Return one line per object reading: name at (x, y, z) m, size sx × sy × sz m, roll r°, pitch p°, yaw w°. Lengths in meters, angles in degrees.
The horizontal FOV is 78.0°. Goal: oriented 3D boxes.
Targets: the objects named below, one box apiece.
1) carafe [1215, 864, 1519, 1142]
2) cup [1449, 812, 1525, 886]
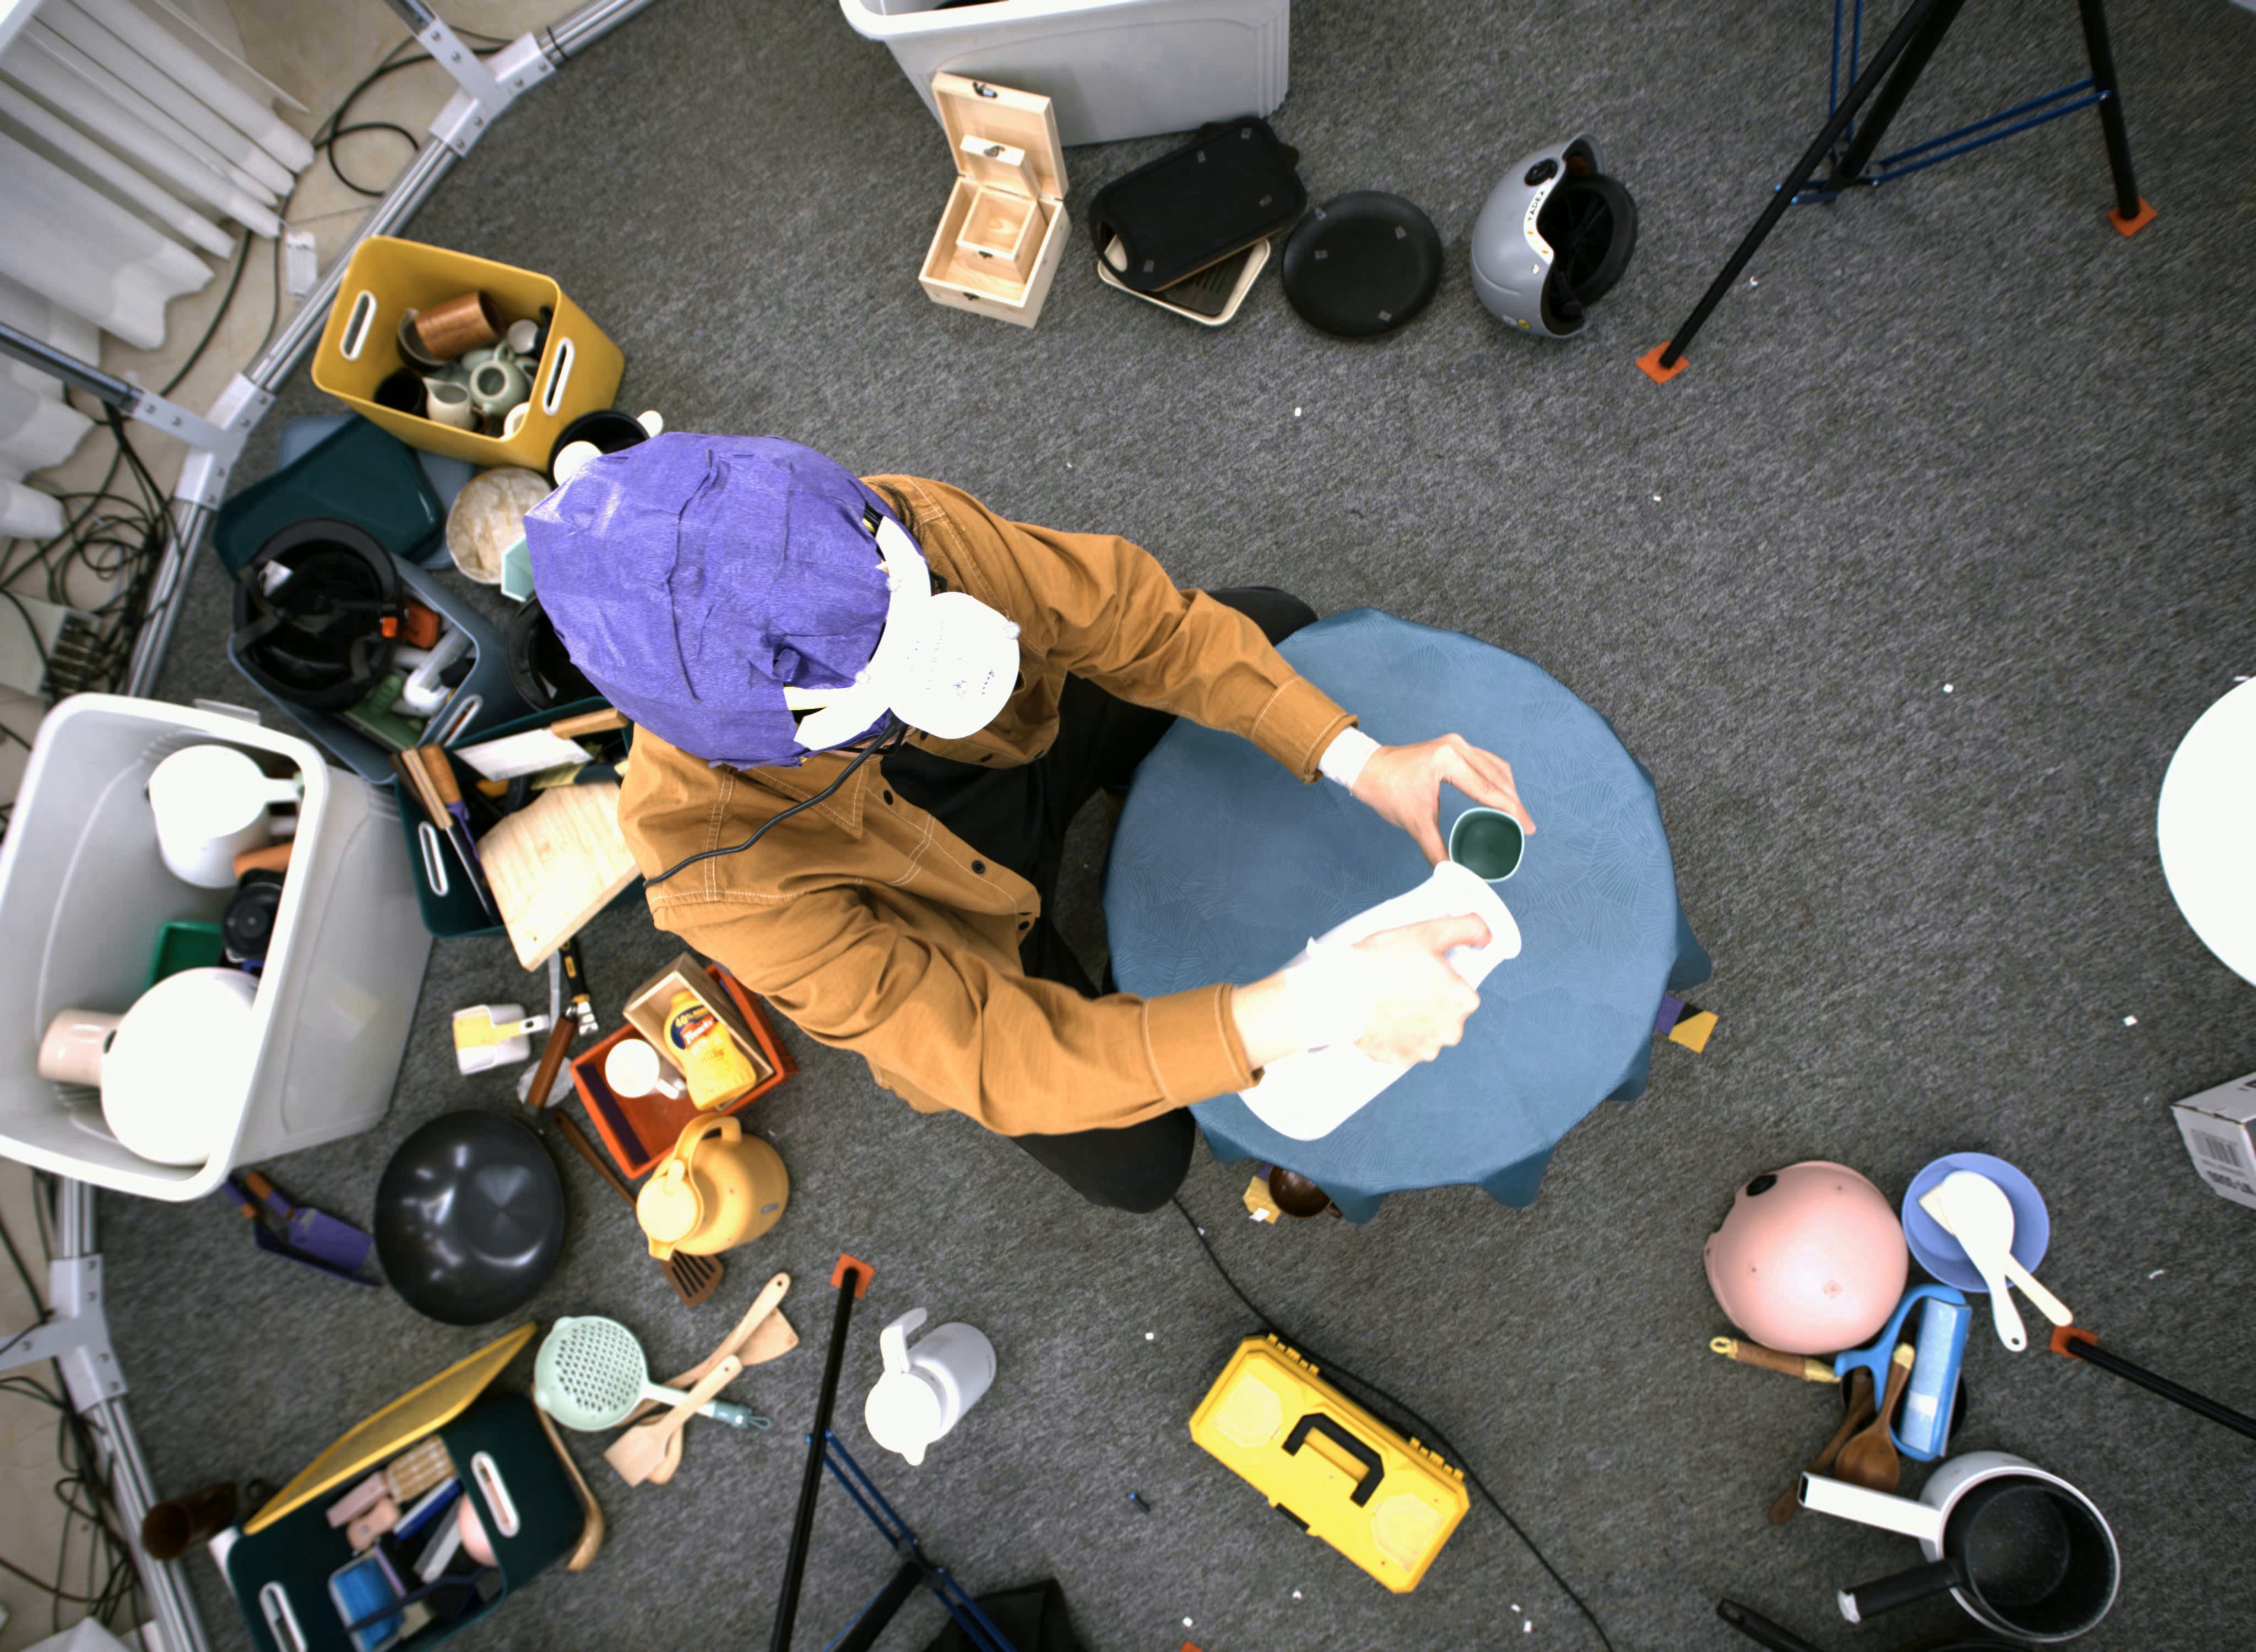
carafe at (0.194, 0.144, 1.110) m, size 0.132 × 0.164 × 0.254 m, roll 44°, pitch 122°, yaw -1°
cup at (0.326, 0.020, 1.248) m, size 0.067 × 0.132 × 0.066 m, roll 0°, pitch 88°, yaw 16°
